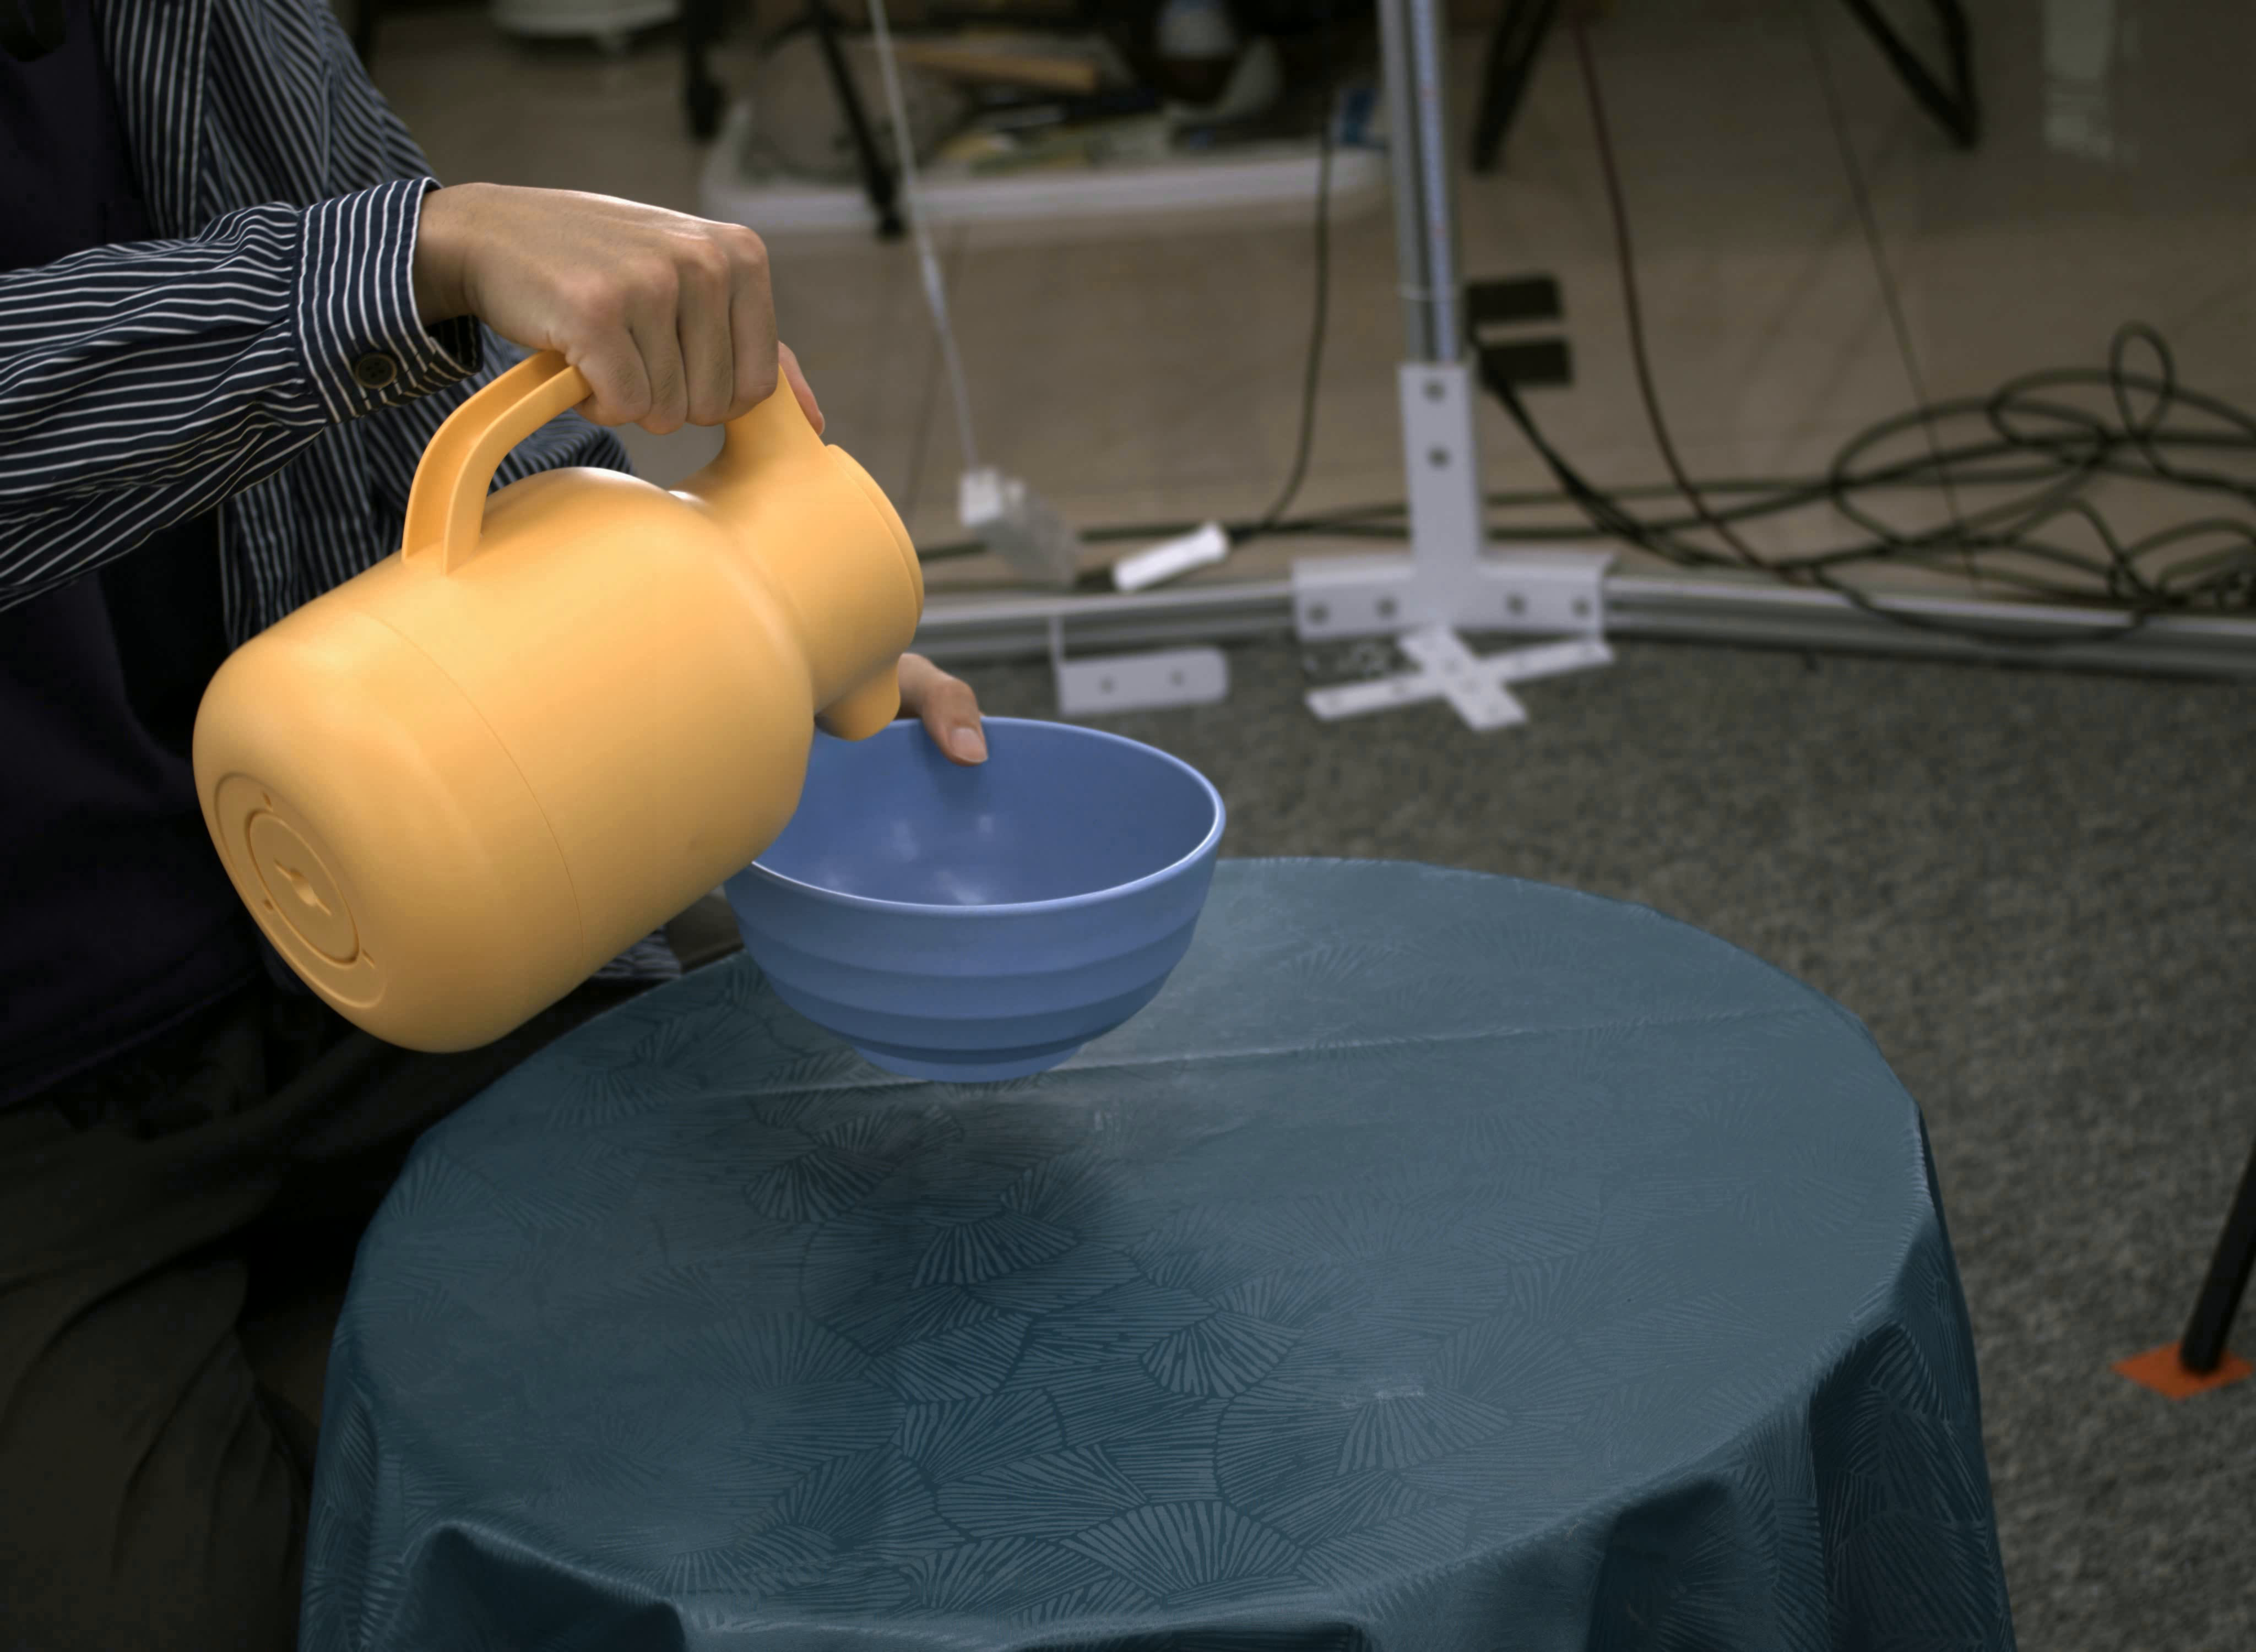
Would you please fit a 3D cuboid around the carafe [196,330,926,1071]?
[{"bbox_3d":[-0.200,-0.053,2.011,0.258,0.206,0.162,-36,36,-25],"label":"carafe"}]

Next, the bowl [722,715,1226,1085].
[{"bbox_3d":[-0.062,0.037,2.154,0.196,0.097,0.194,1,23,0],"label":"bowl"}]
